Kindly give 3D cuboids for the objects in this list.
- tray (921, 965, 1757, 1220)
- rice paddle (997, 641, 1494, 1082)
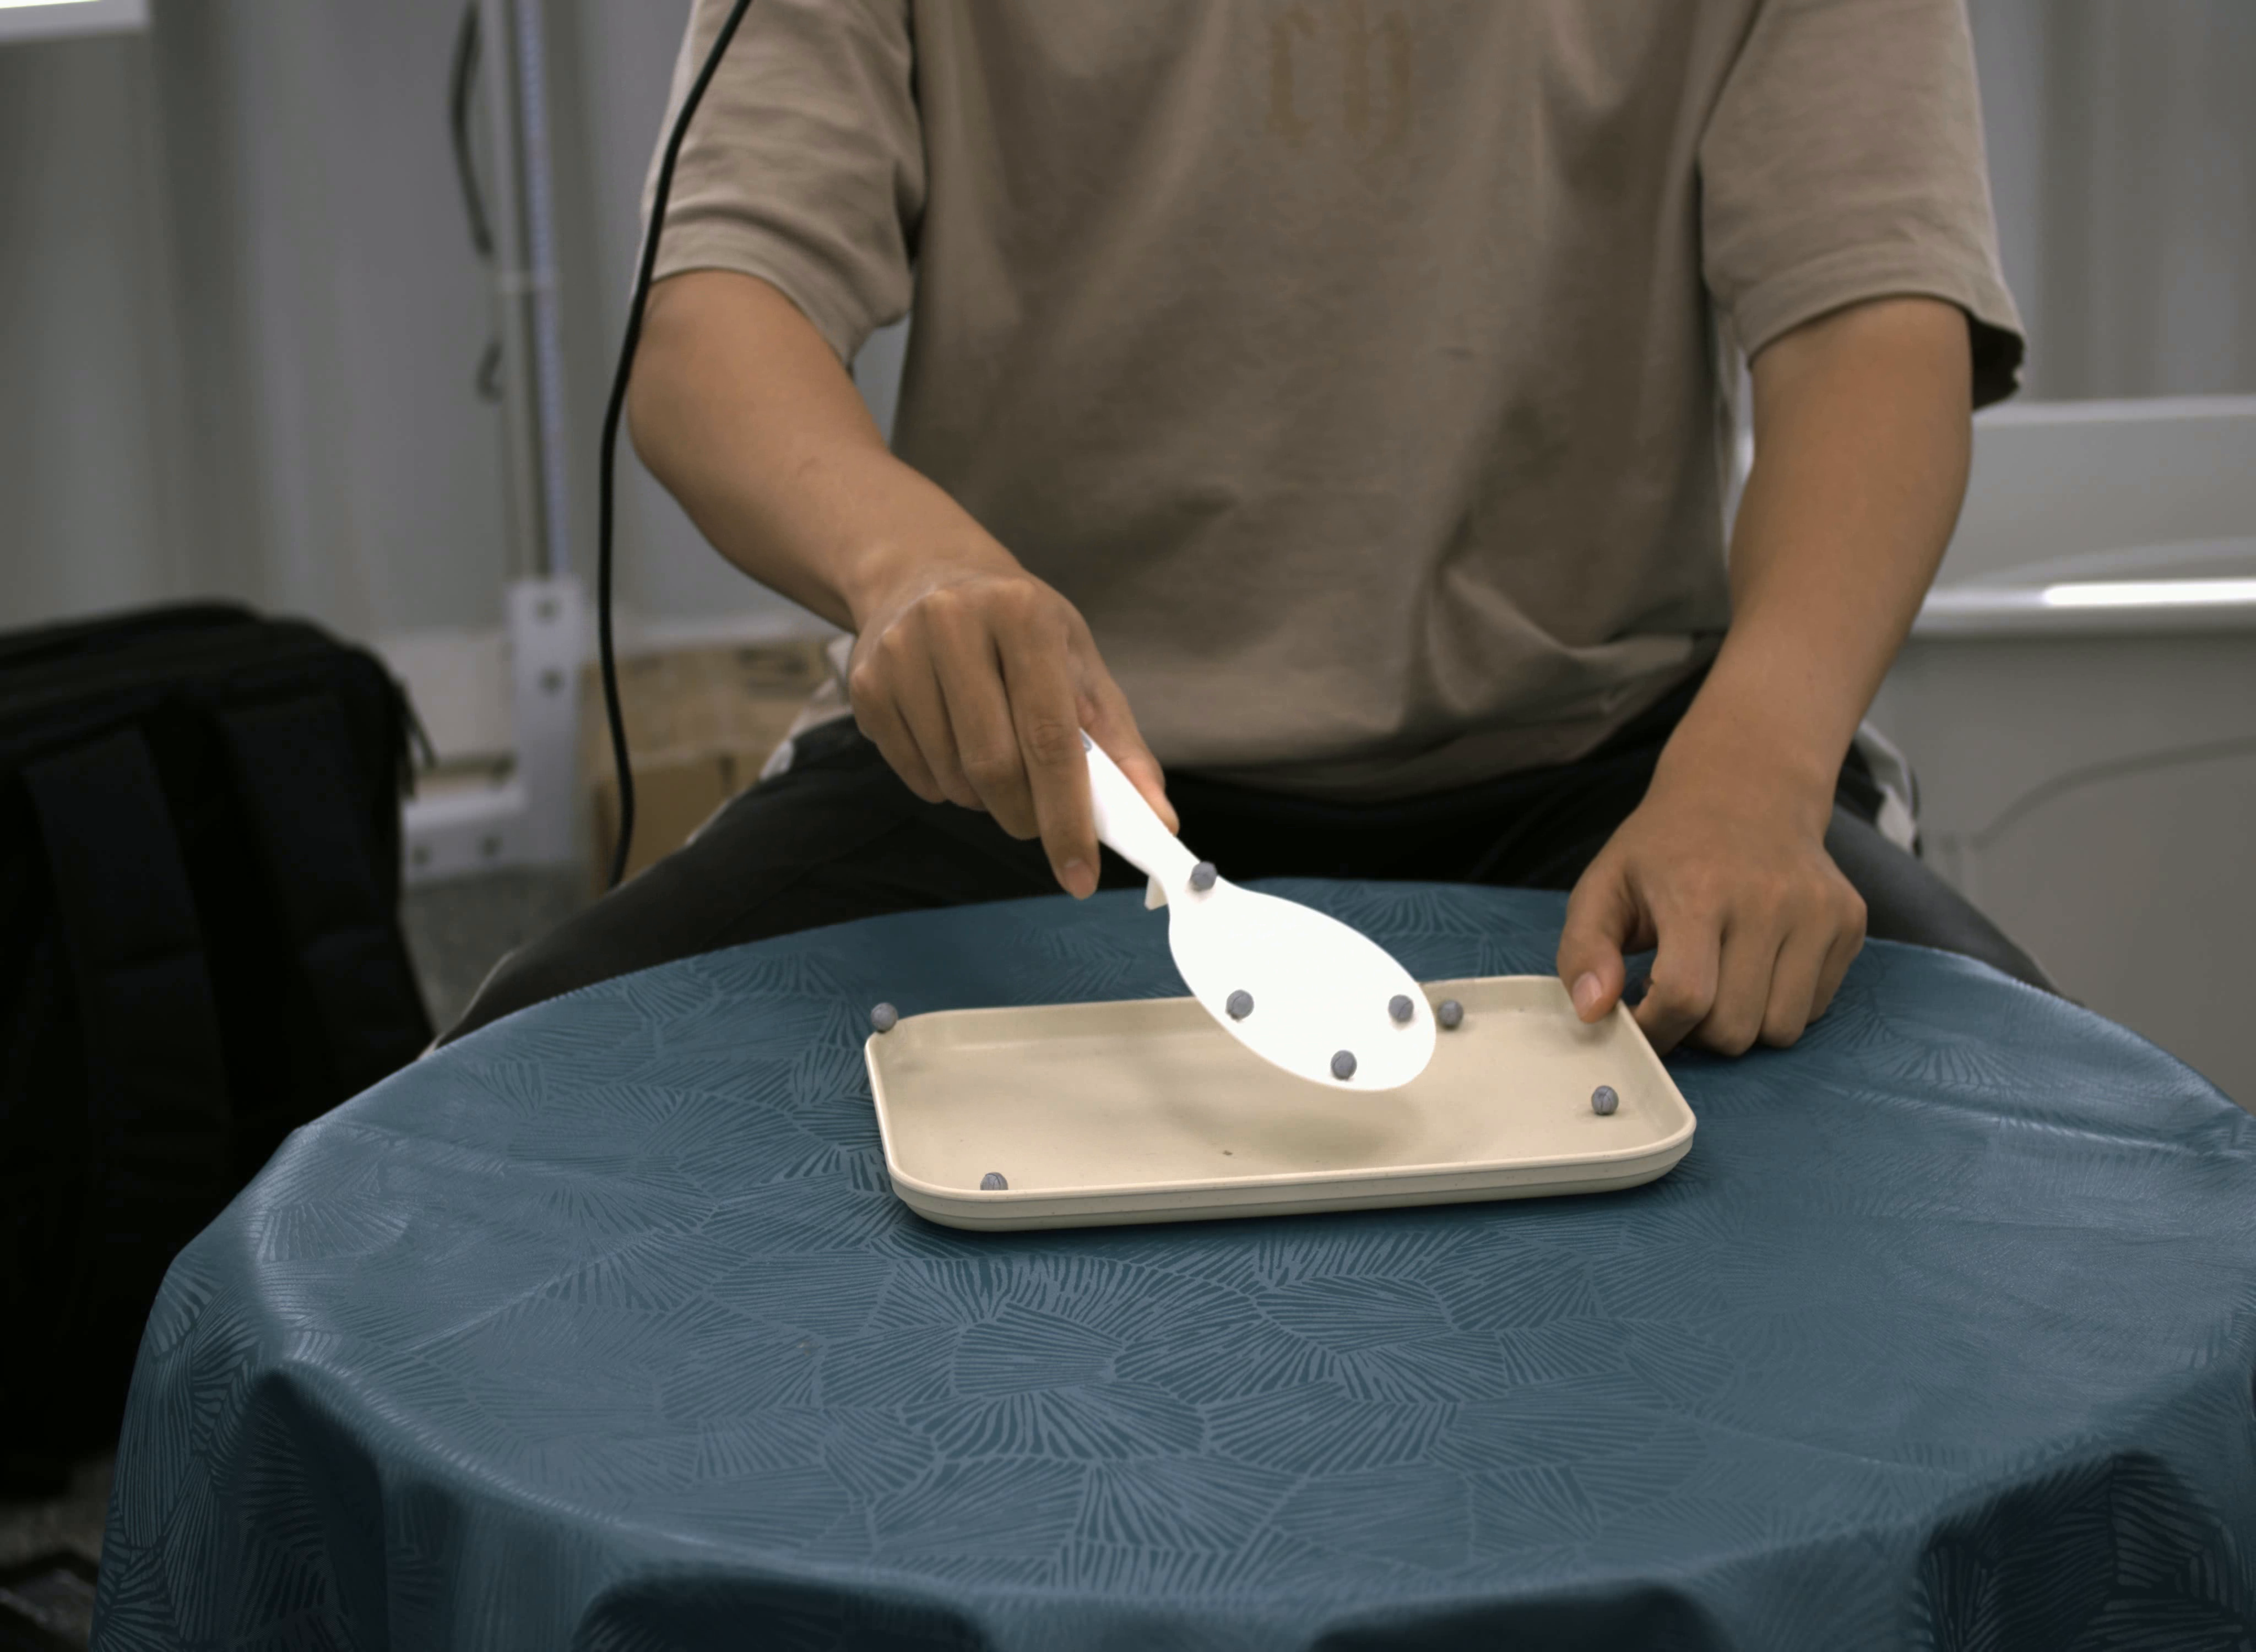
[{"bbox_3d":[0.060,0.081,1.597,0.238,0.017,0.172,-3,17,-4],"label":"tray"},{"bbox_3d":[0.035,0.012,1.613,0.067,0.029,0.209,-20,48,-34],"label":"rice paddle"}]
